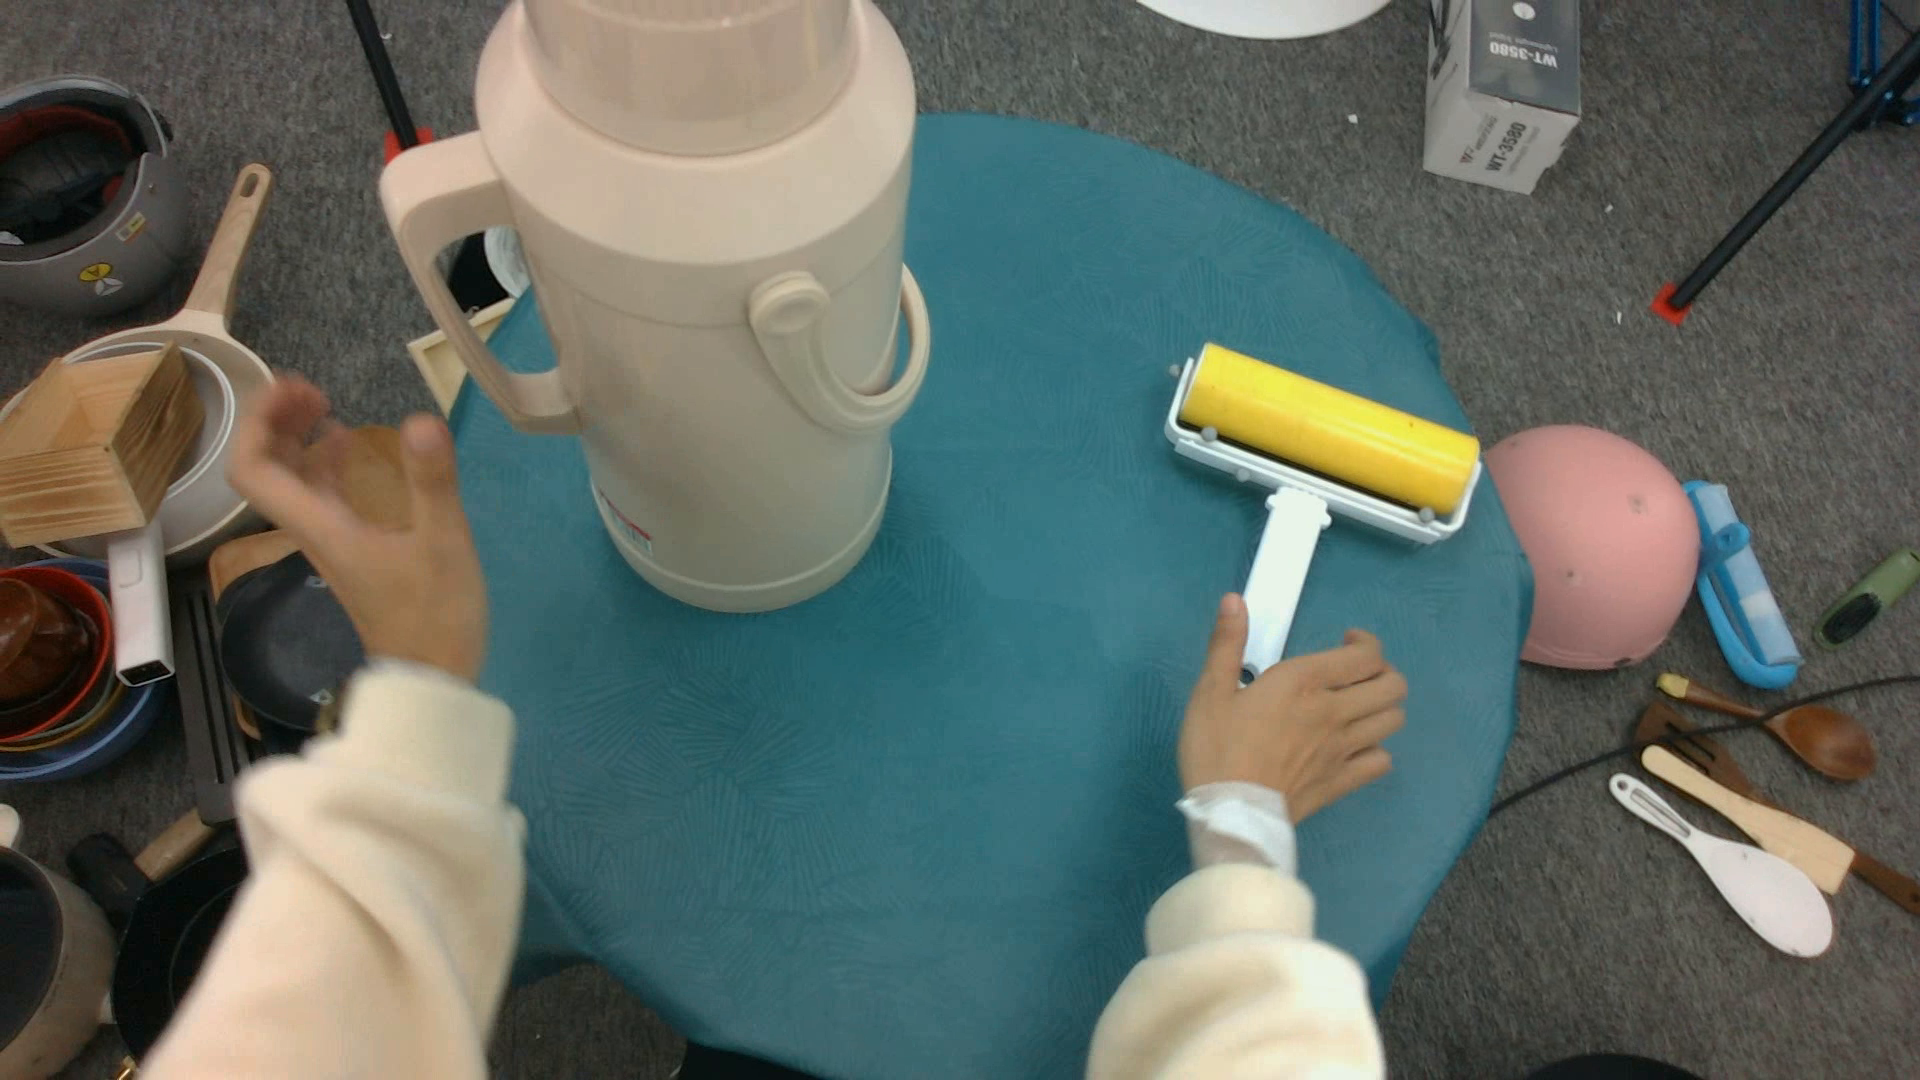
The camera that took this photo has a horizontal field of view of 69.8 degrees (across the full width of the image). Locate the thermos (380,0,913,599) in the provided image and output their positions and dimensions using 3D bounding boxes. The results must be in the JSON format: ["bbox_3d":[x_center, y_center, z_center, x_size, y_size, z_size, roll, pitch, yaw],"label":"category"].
[{"bbox_3d":[-0.117,-0.122,0.584,0.207,0.404,0.175,-21,68,-15],"label":"thermos"}]

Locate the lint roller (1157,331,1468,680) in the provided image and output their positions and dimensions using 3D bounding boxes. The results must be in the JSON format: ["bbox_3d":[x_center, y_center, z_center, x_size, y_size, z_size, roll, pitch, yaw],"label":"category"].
[{"bbox_3d":[0.181,-0.015,0.756,0.174,0.051,0.193,20,57,4],"label":"lint roller"}]
